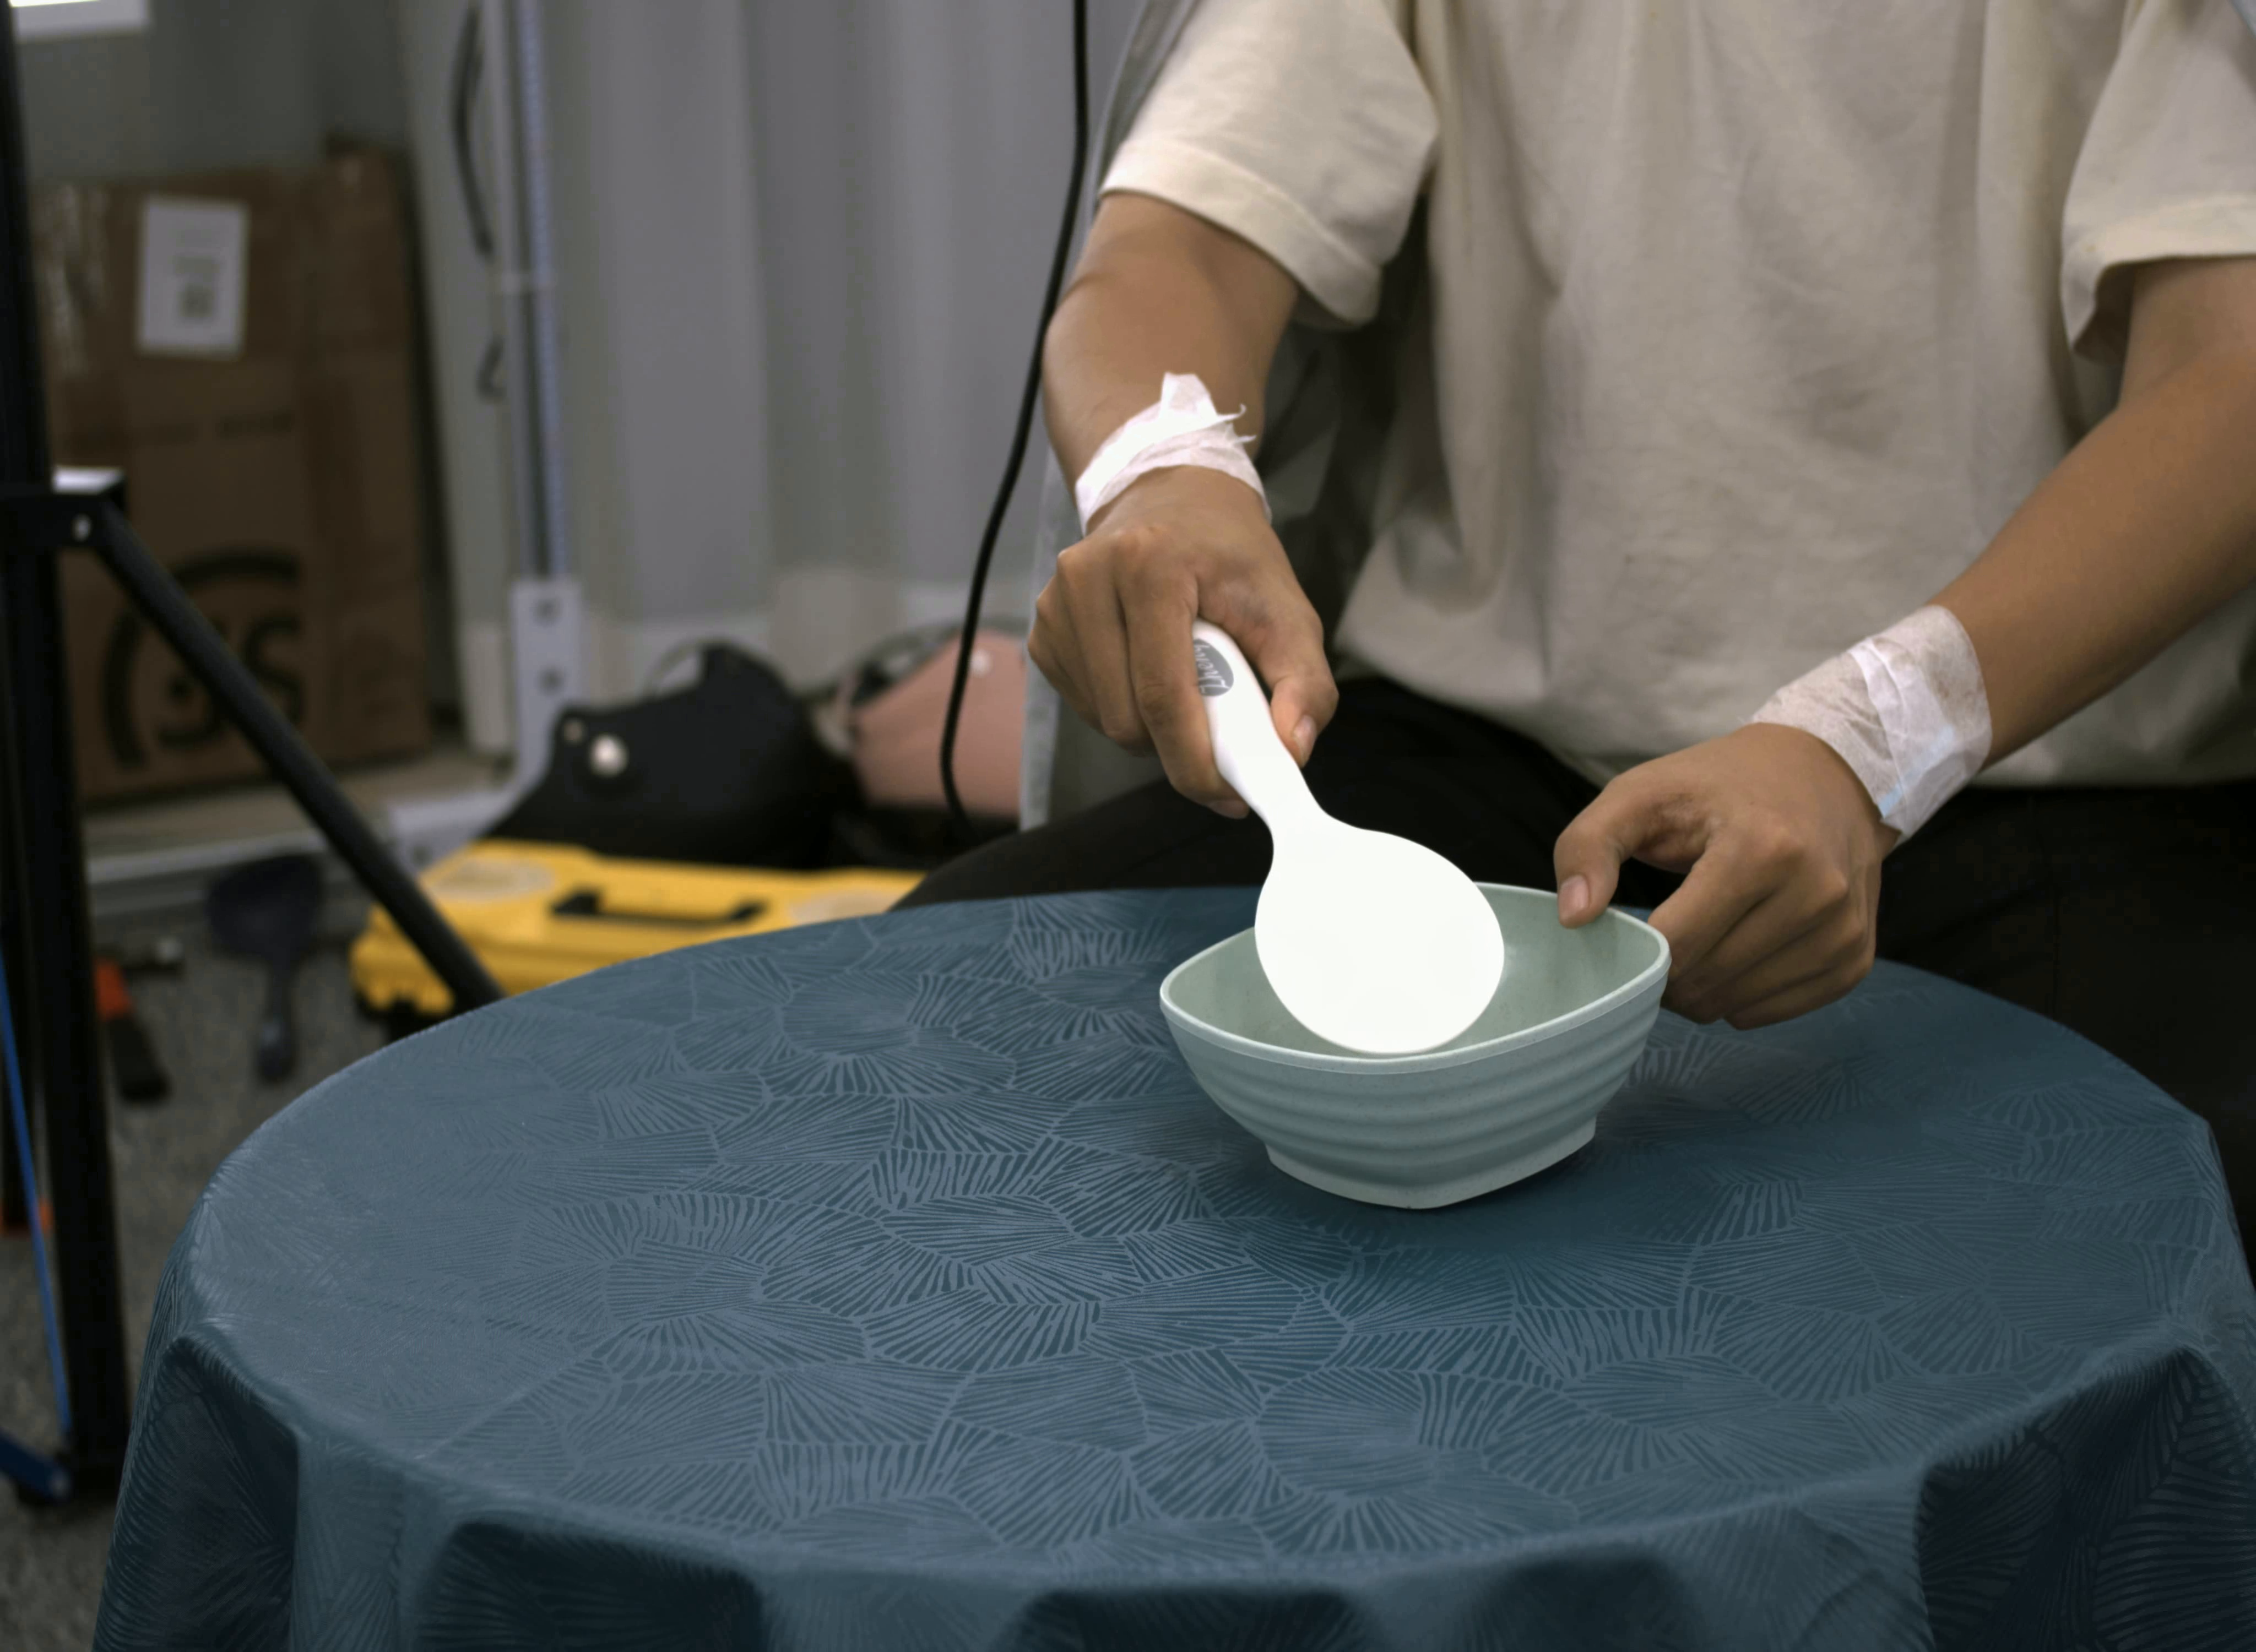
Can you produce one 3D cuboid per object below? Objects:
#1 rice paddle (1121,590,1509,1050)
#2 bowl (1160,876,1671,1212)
[{"bbox_3d":[0.052,-0.002,1.600,0.068,0.029,0.209,-27,44,-7],"label":"rice paddle"},{"bbox_3d":[0.088,0.068,1.563,0.151,0.058,0.152,-9,19,2],"label":"bowl"}]
